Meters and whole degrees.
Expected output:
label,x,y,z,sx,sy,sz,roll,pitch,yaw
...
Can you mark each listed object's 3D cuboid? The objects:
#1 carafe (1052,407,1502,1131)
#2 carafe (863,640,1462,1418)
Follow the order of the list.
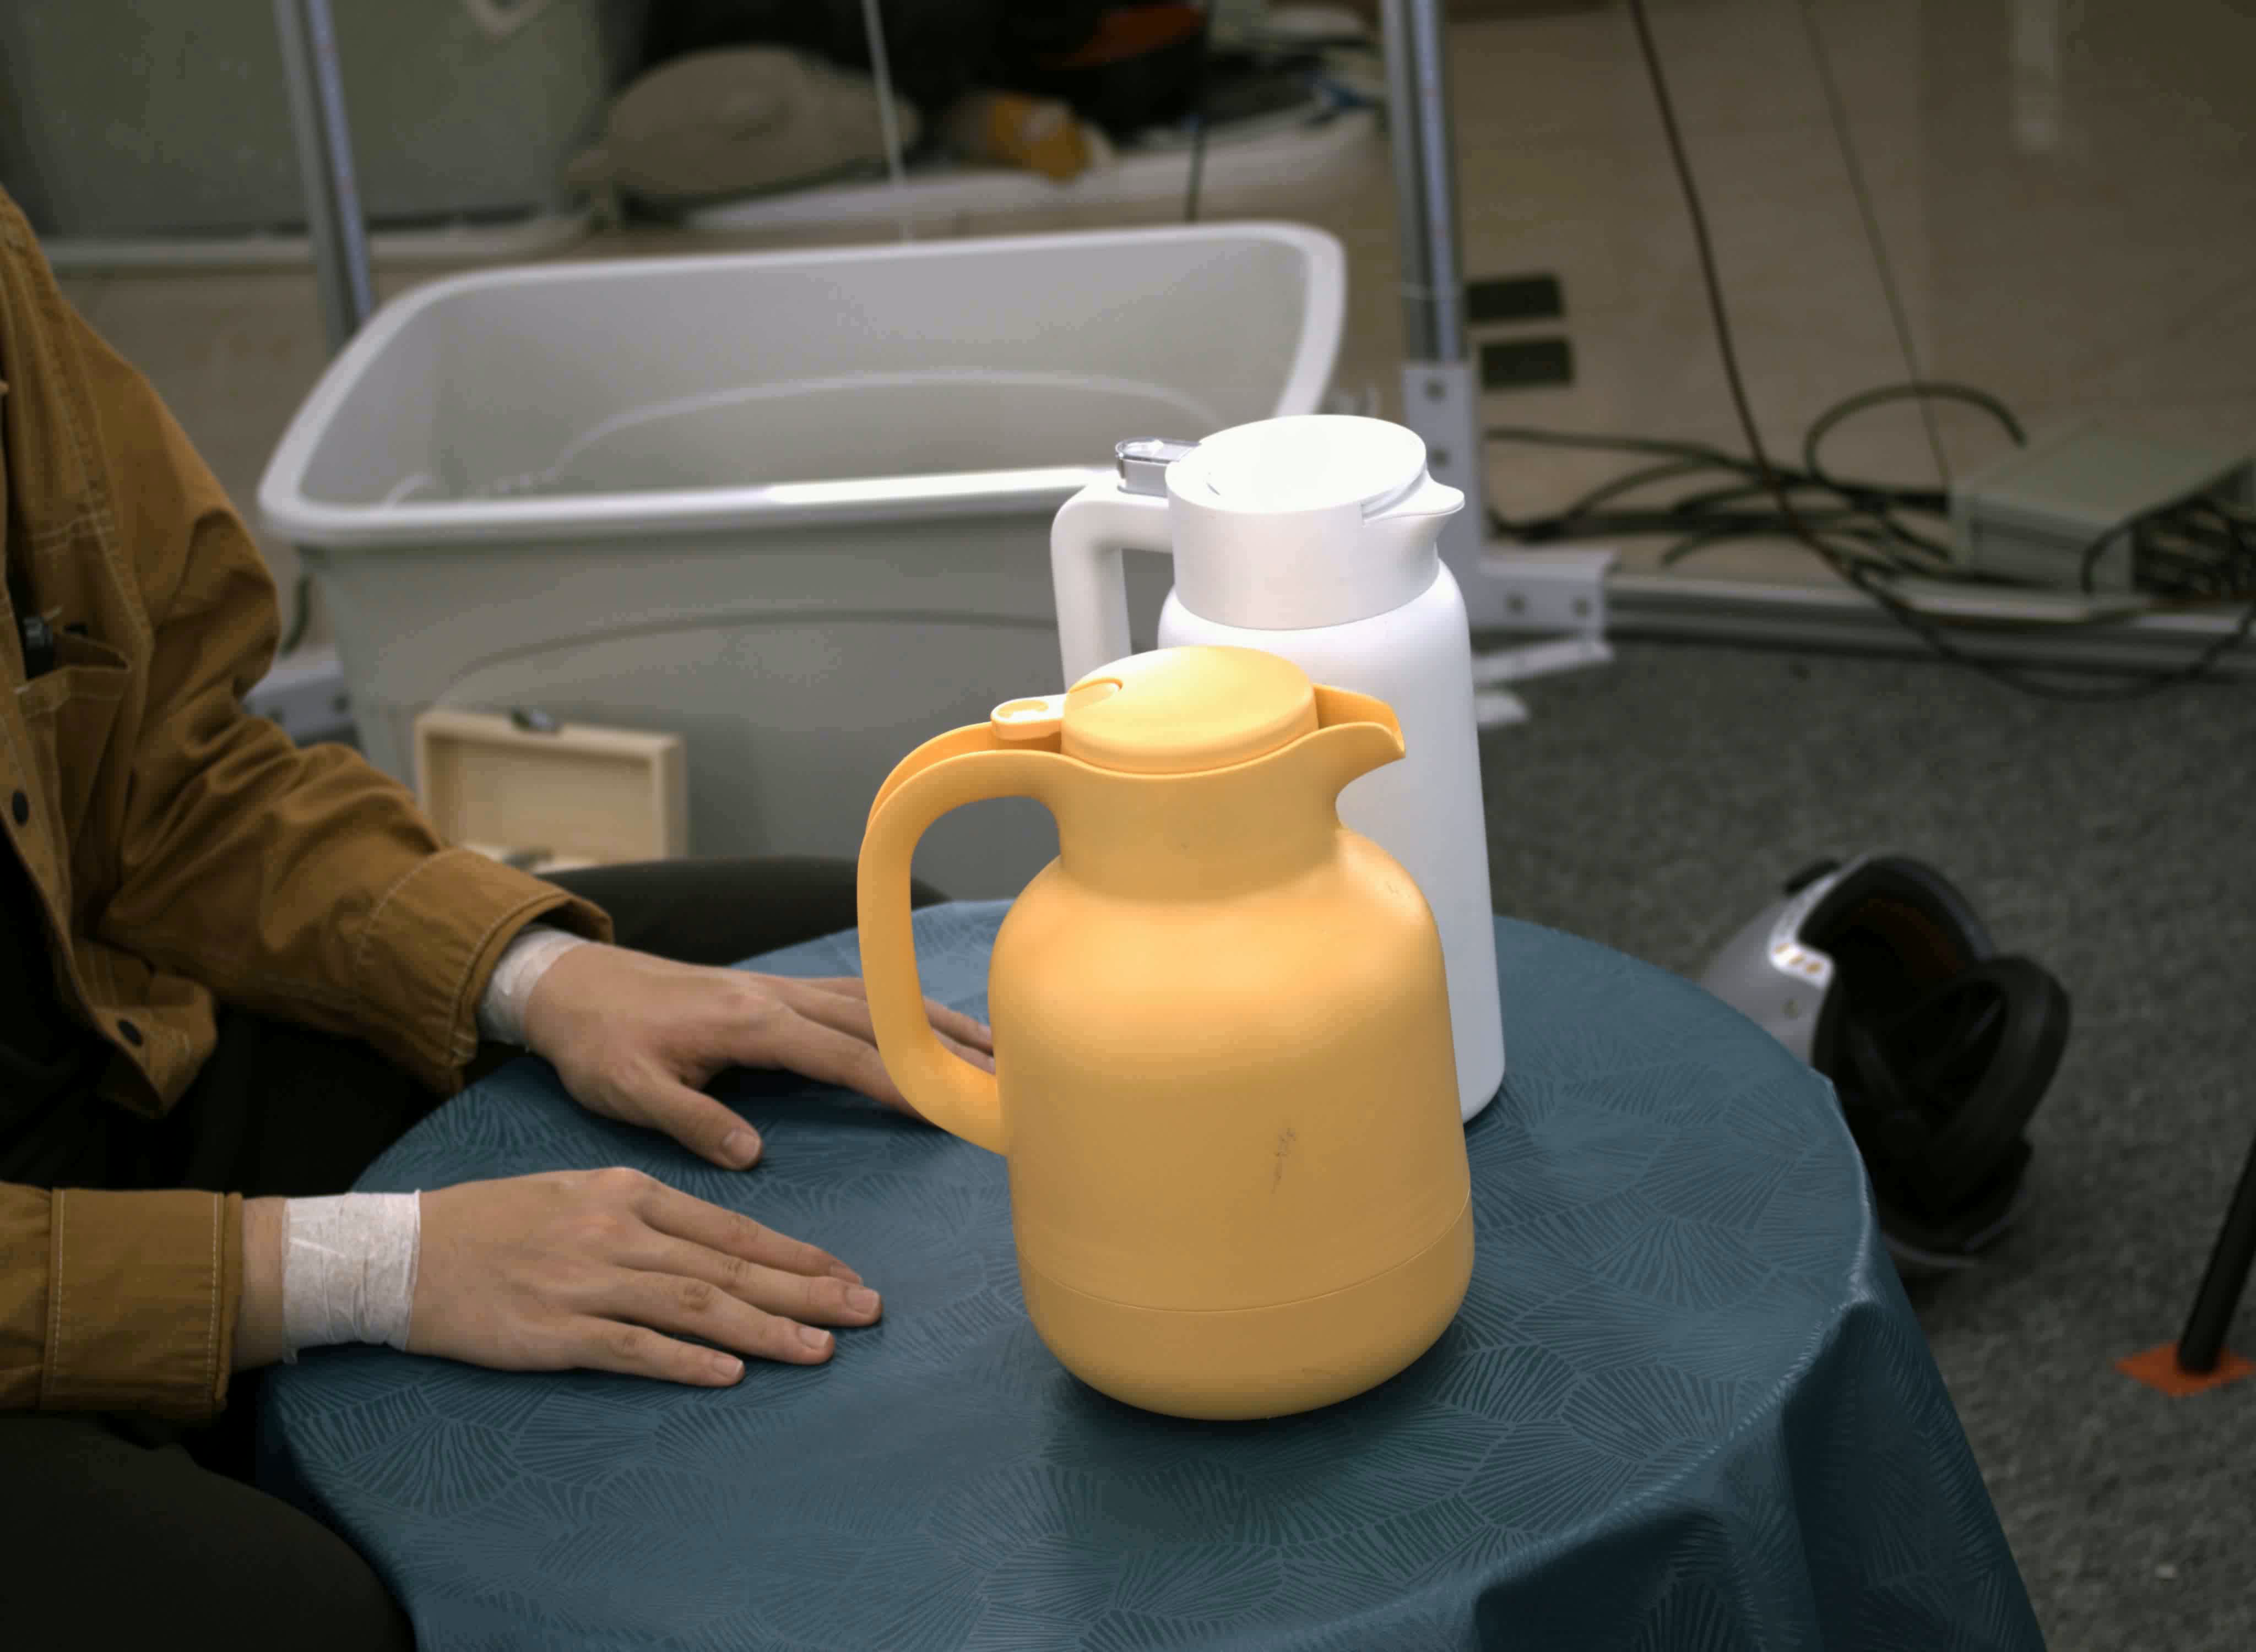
label,x,y,z,sx,sy,sz,roll,pitch,yaw
carafe,0.059,-0.017,2.149,0.172,0.273,0.122,8,31,28
carafe,0.012,0.066,1.984,0.202,0.264,0.161,-1,23,7
